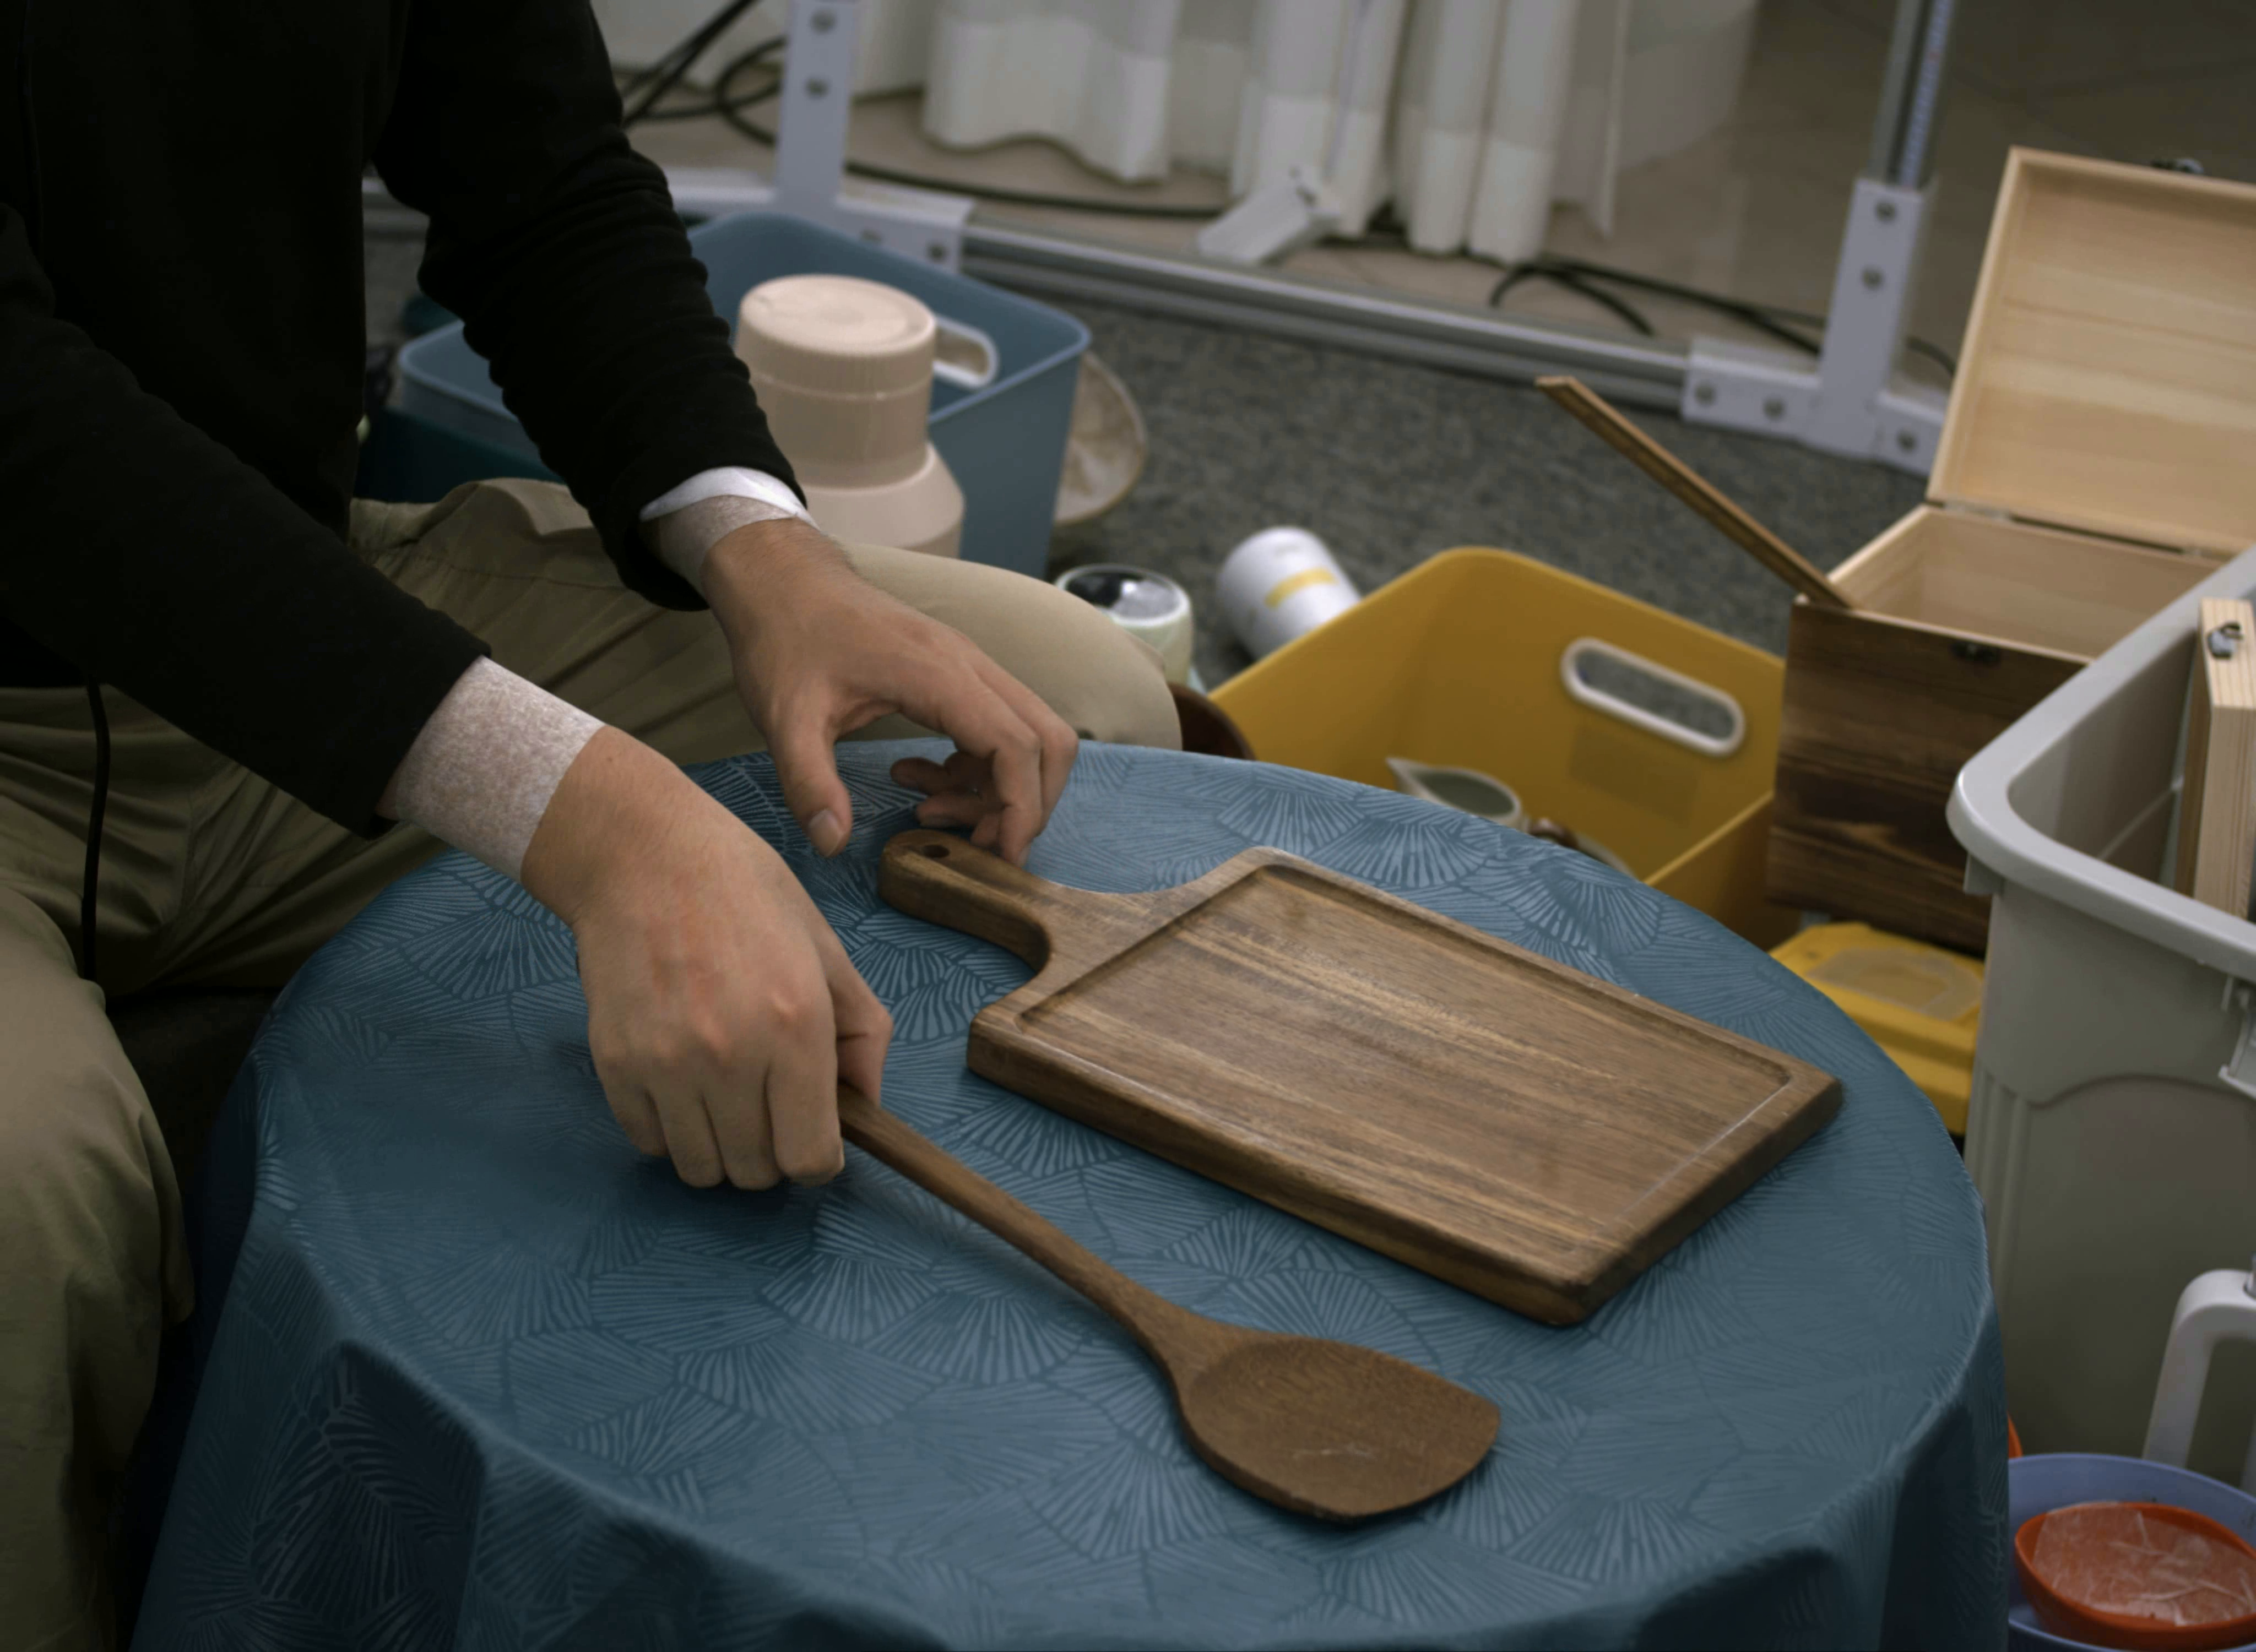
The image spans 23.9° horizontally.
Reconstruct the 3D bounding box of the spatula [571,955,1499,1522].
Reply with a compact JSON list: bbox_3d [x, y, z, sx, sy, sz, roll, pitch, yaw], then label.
[{"bbox_3d":[-0.046,0.127,1.751,0.388,0.016,0.095,30,34,31],"label":"spatula"}]

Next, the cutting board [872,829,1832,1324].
[{"bbox_3d":[0.056,0.069,1.898,0.354,0.023,0.200,22,30,27],"label":"cutting board"}]
